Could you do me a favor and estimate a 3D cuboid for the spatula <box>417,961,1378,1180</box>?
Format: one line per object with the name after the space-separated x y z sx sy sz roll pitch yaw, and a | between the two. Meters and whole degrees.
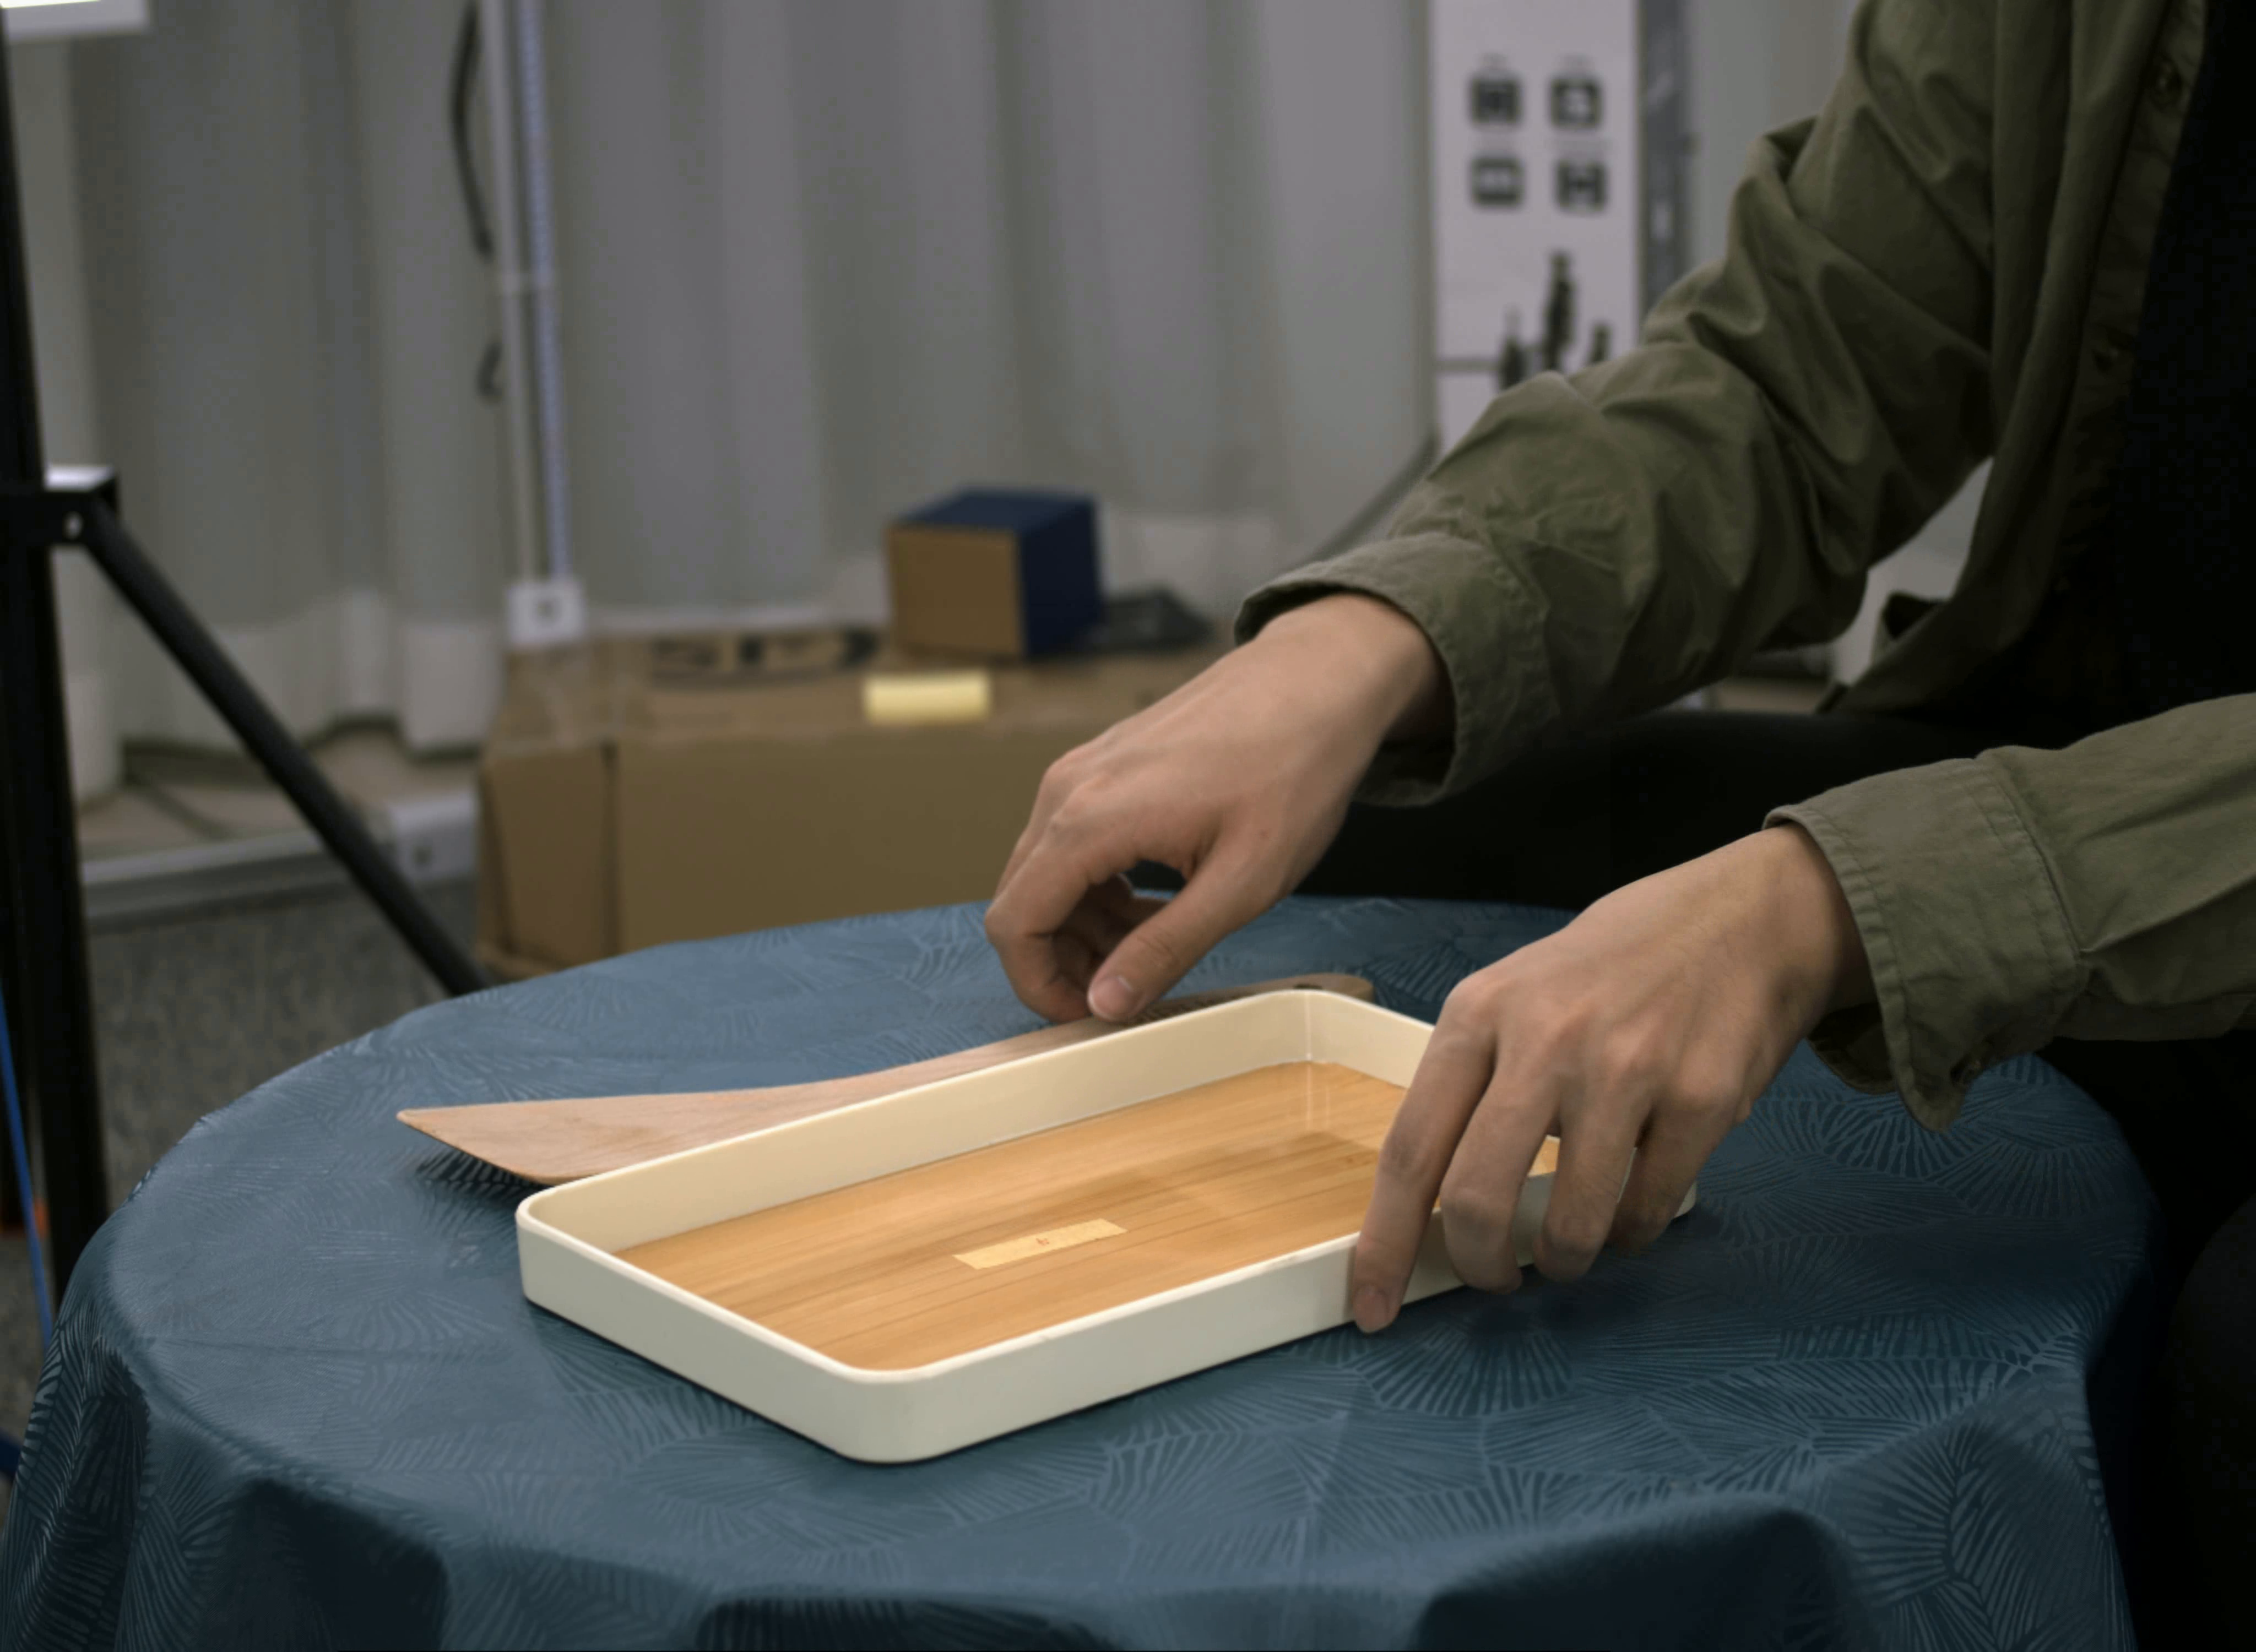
-0.059 0.073 1.664 0.320 0.016 0.081 -11 19 -28 | spatula

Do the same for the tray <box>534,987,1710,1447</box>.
0.000 0.107 1.517 0.293 0.027 0.196 -13 19 -34 | tray
